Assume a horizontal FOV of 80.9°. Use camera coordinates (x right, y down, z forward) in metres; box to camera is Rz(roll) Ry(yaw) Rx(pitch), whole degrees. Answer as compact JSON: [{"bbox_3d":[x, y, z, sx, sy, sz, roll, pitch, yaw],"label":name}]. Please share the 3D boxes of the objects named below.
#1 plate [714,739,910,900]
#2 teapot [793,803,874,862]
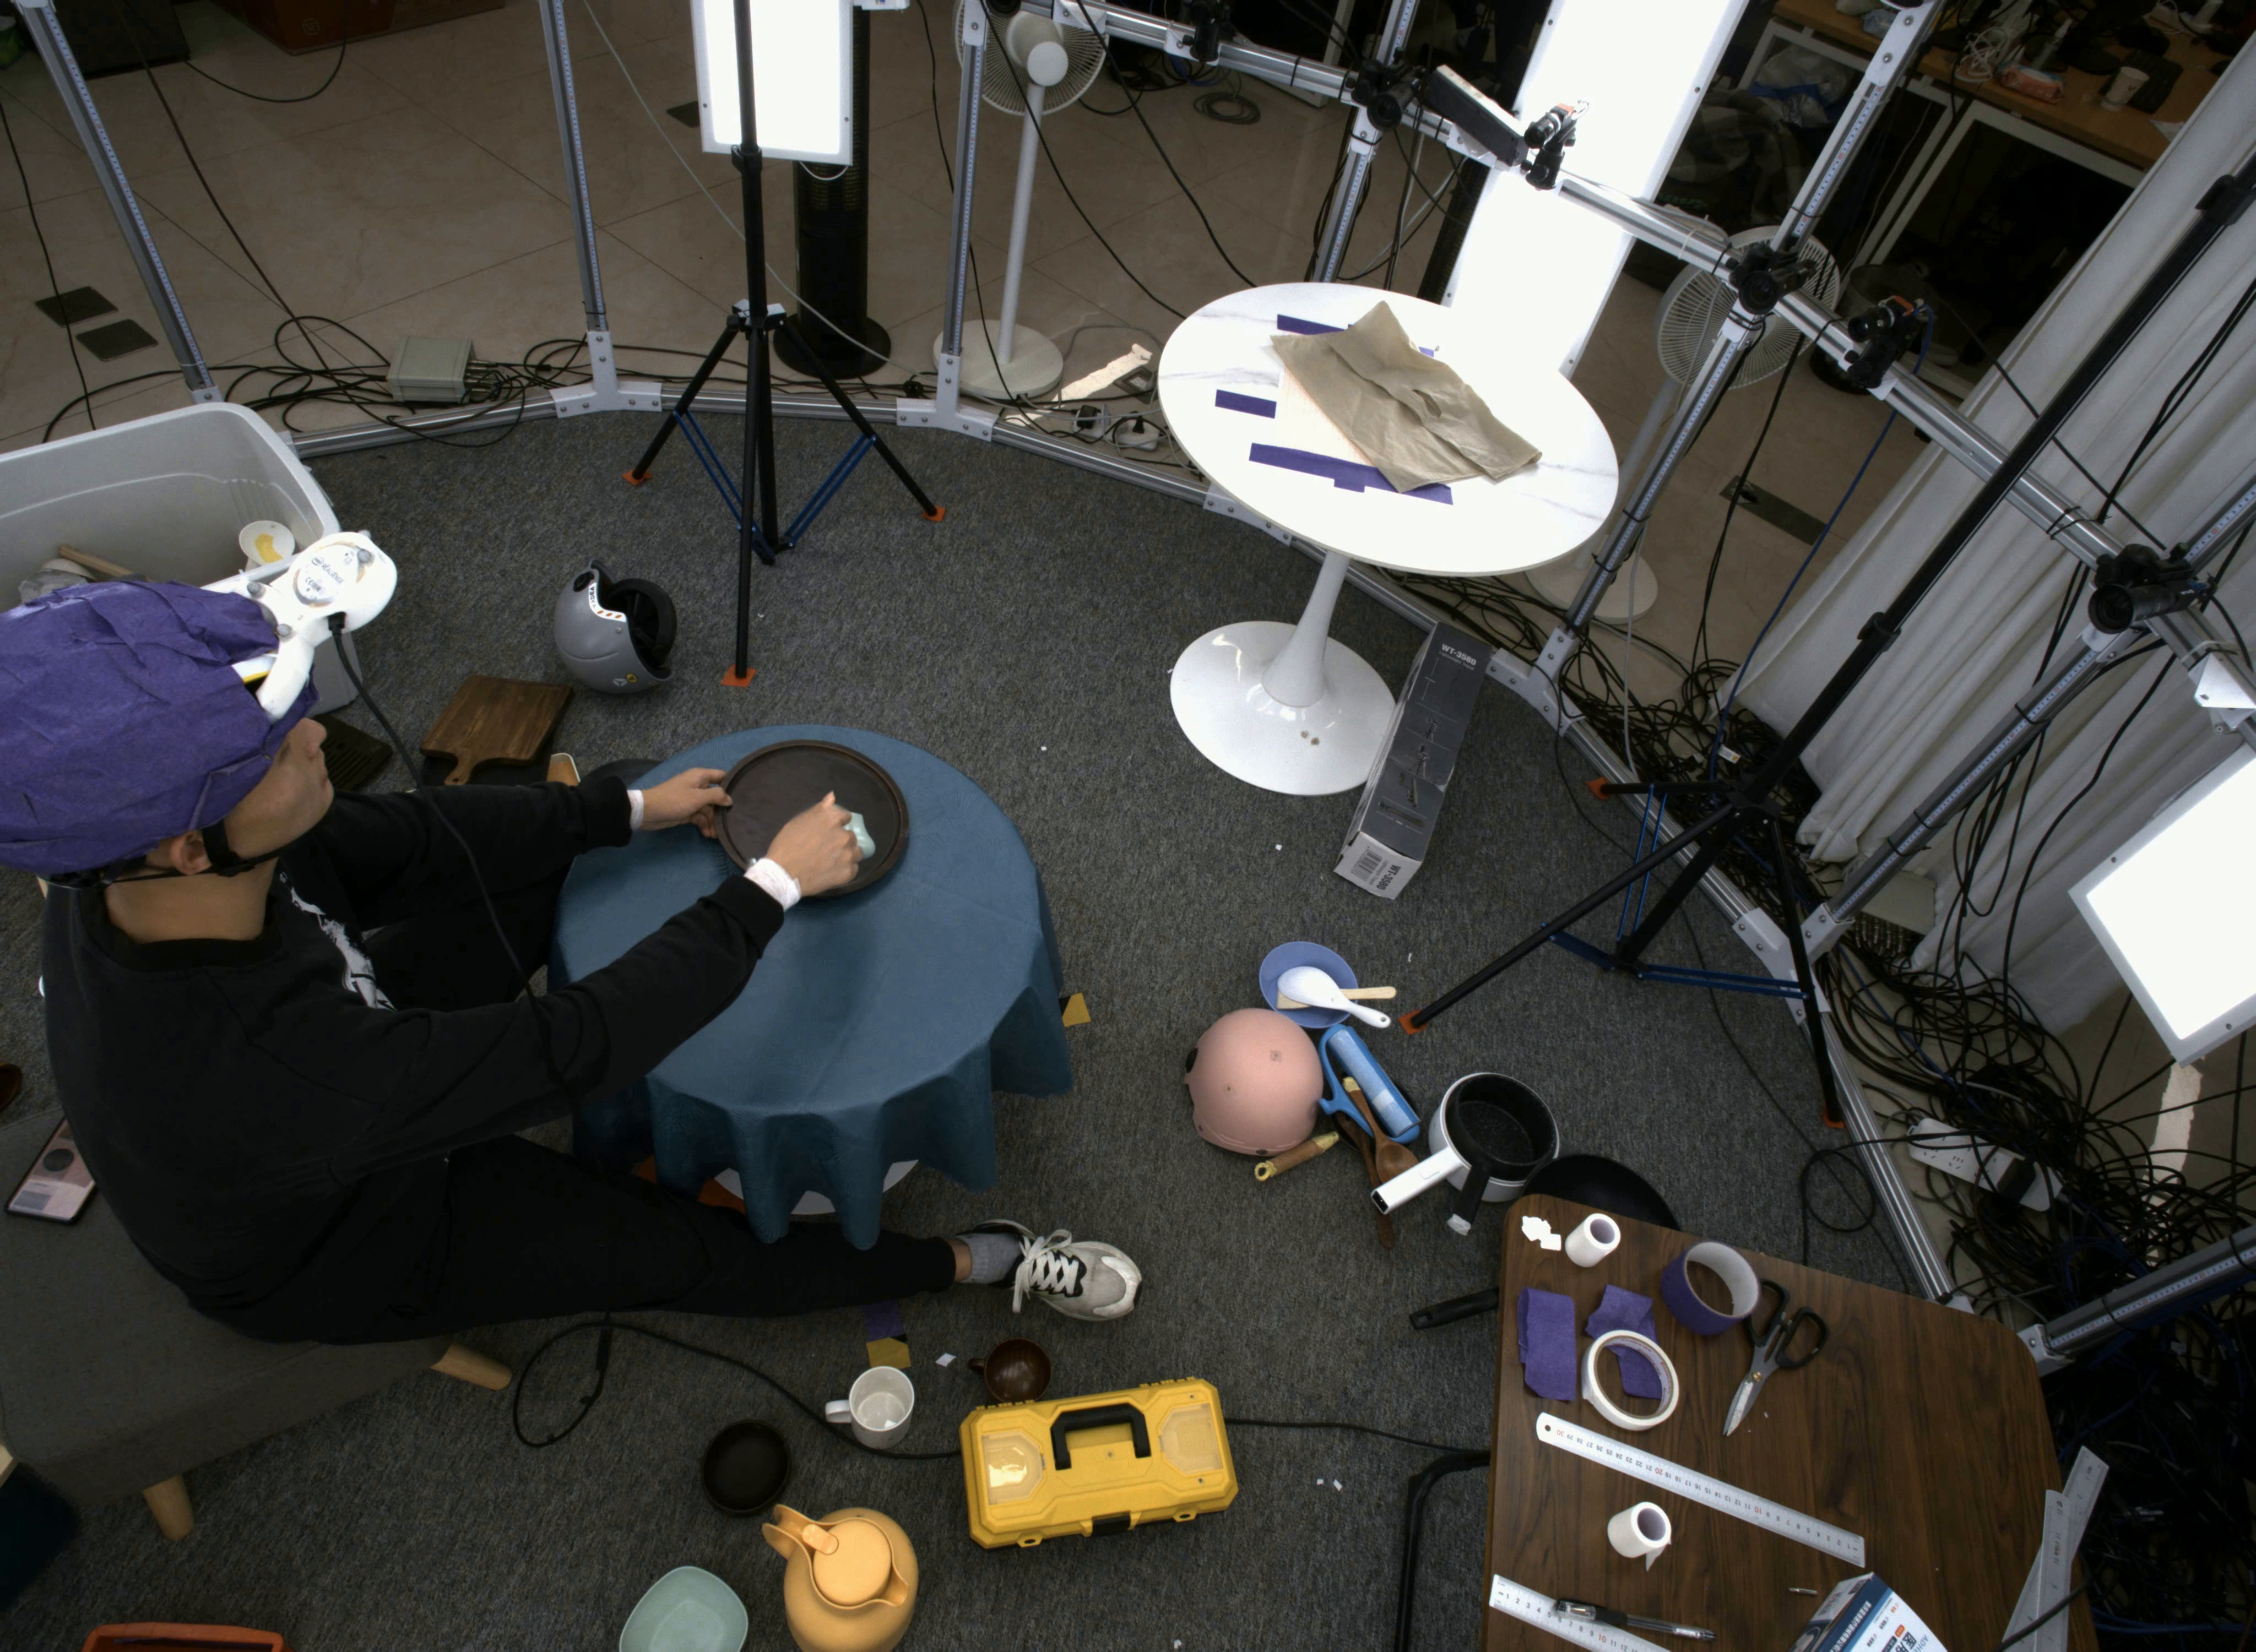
[{"bbox_3d":[-0.414,-0.011,1.701,0.256,0.029,0.250,13,52,-15],"label":"plate"},{"bbox_3d":[-0.352,0.009,1.552,0.096,0.136,0.062,3,83,-12],"label":"teapot"}]
